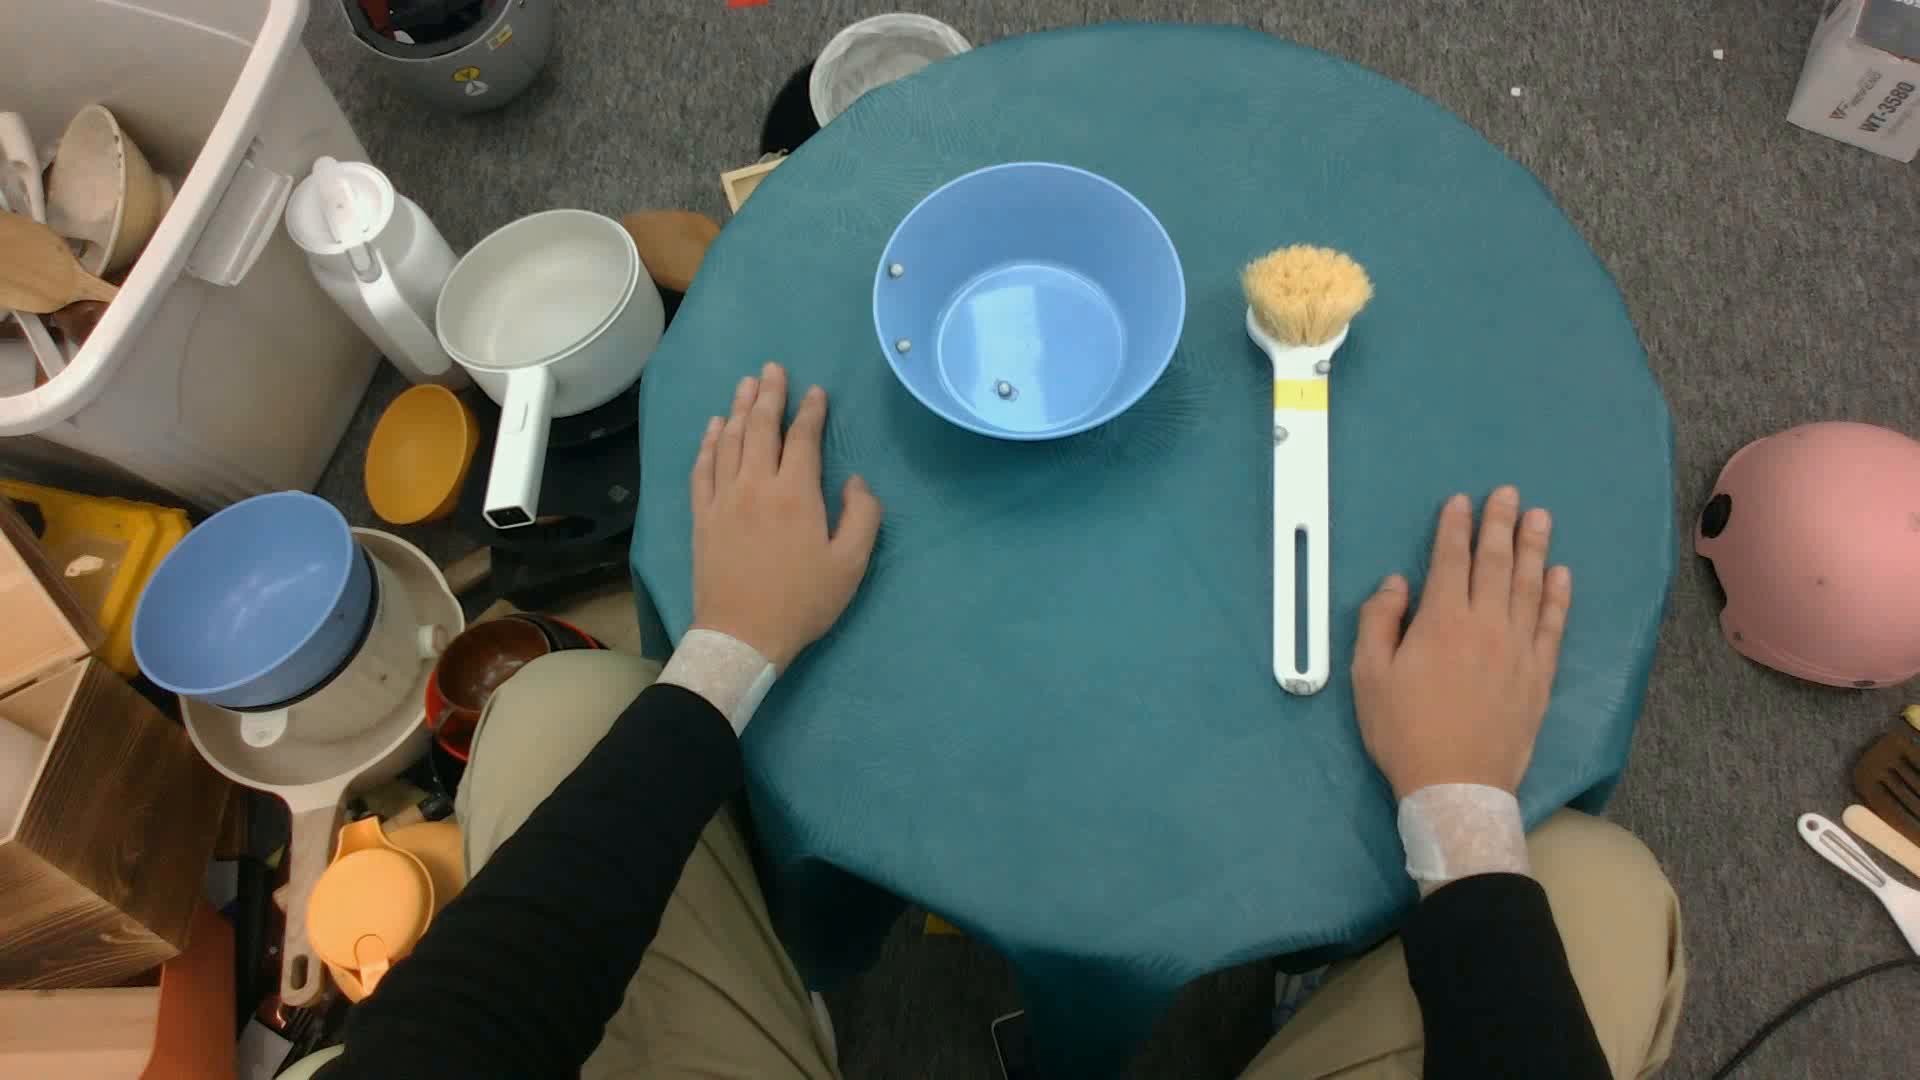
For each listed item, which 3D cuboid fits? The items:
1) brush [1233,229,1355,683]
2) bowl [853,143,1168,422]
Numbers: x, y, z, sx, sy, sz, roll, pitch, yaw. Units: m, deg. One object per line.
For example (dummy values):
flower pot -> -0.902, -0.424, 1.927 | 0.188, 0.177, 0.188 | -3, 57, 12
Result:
brush -> 0.186, -0.055, 0.773 | 0.068, 0.056, 0.267 | 2, 71, 8
bowl -> 0.029, -0.137, 0.798 | 0.176, 0.070, 0.176 | -1, 71, 3
